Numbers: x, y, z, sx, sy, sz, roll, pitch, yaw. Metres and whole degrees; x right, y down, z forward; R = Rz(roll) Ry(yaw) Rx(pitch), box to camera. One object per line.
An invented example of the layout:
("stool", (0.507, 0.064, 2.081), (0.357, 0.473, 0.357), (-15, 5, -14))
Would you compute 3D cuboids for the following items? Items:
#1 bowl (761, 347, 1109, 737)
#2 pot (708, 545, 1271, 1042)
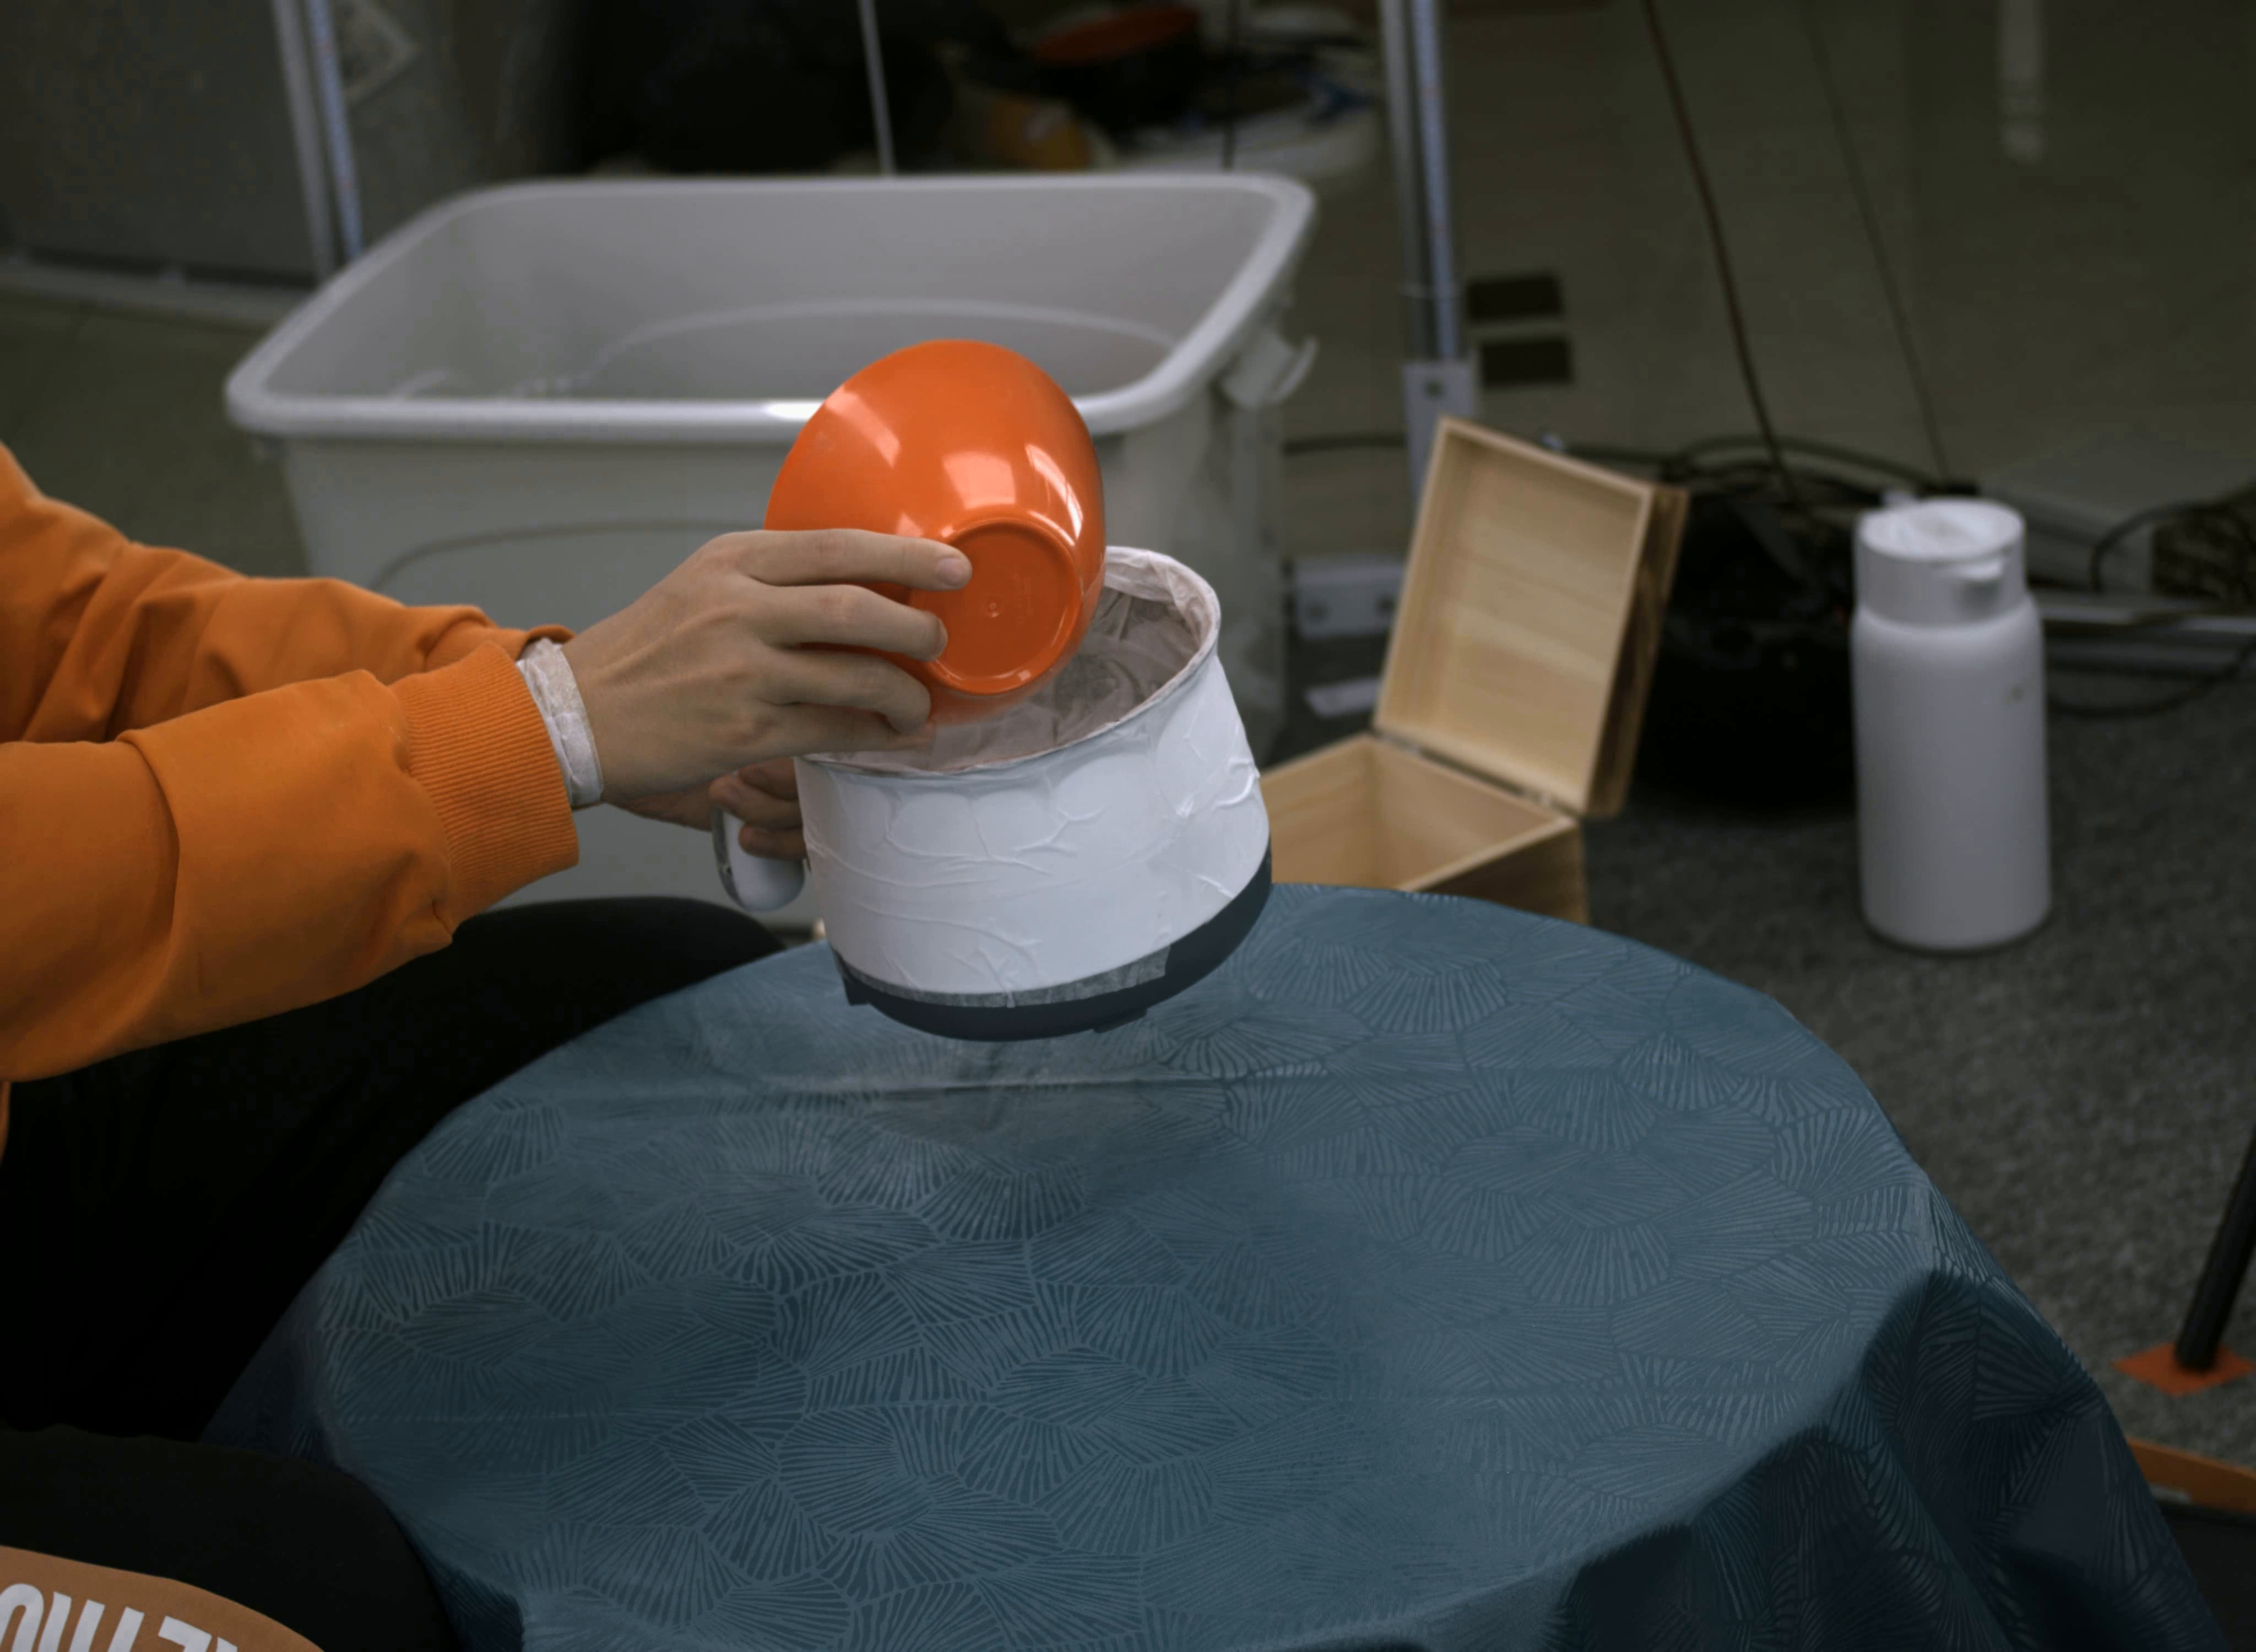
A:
("bowl", (-0.056, -0.095, 2.076), (0.147, 0.150, 0.103), (-15, 23, -19))
("pot", (-0.063, -0.011, 2.183), (0.233, 0.139, 0.176), (2, 32, 26))
